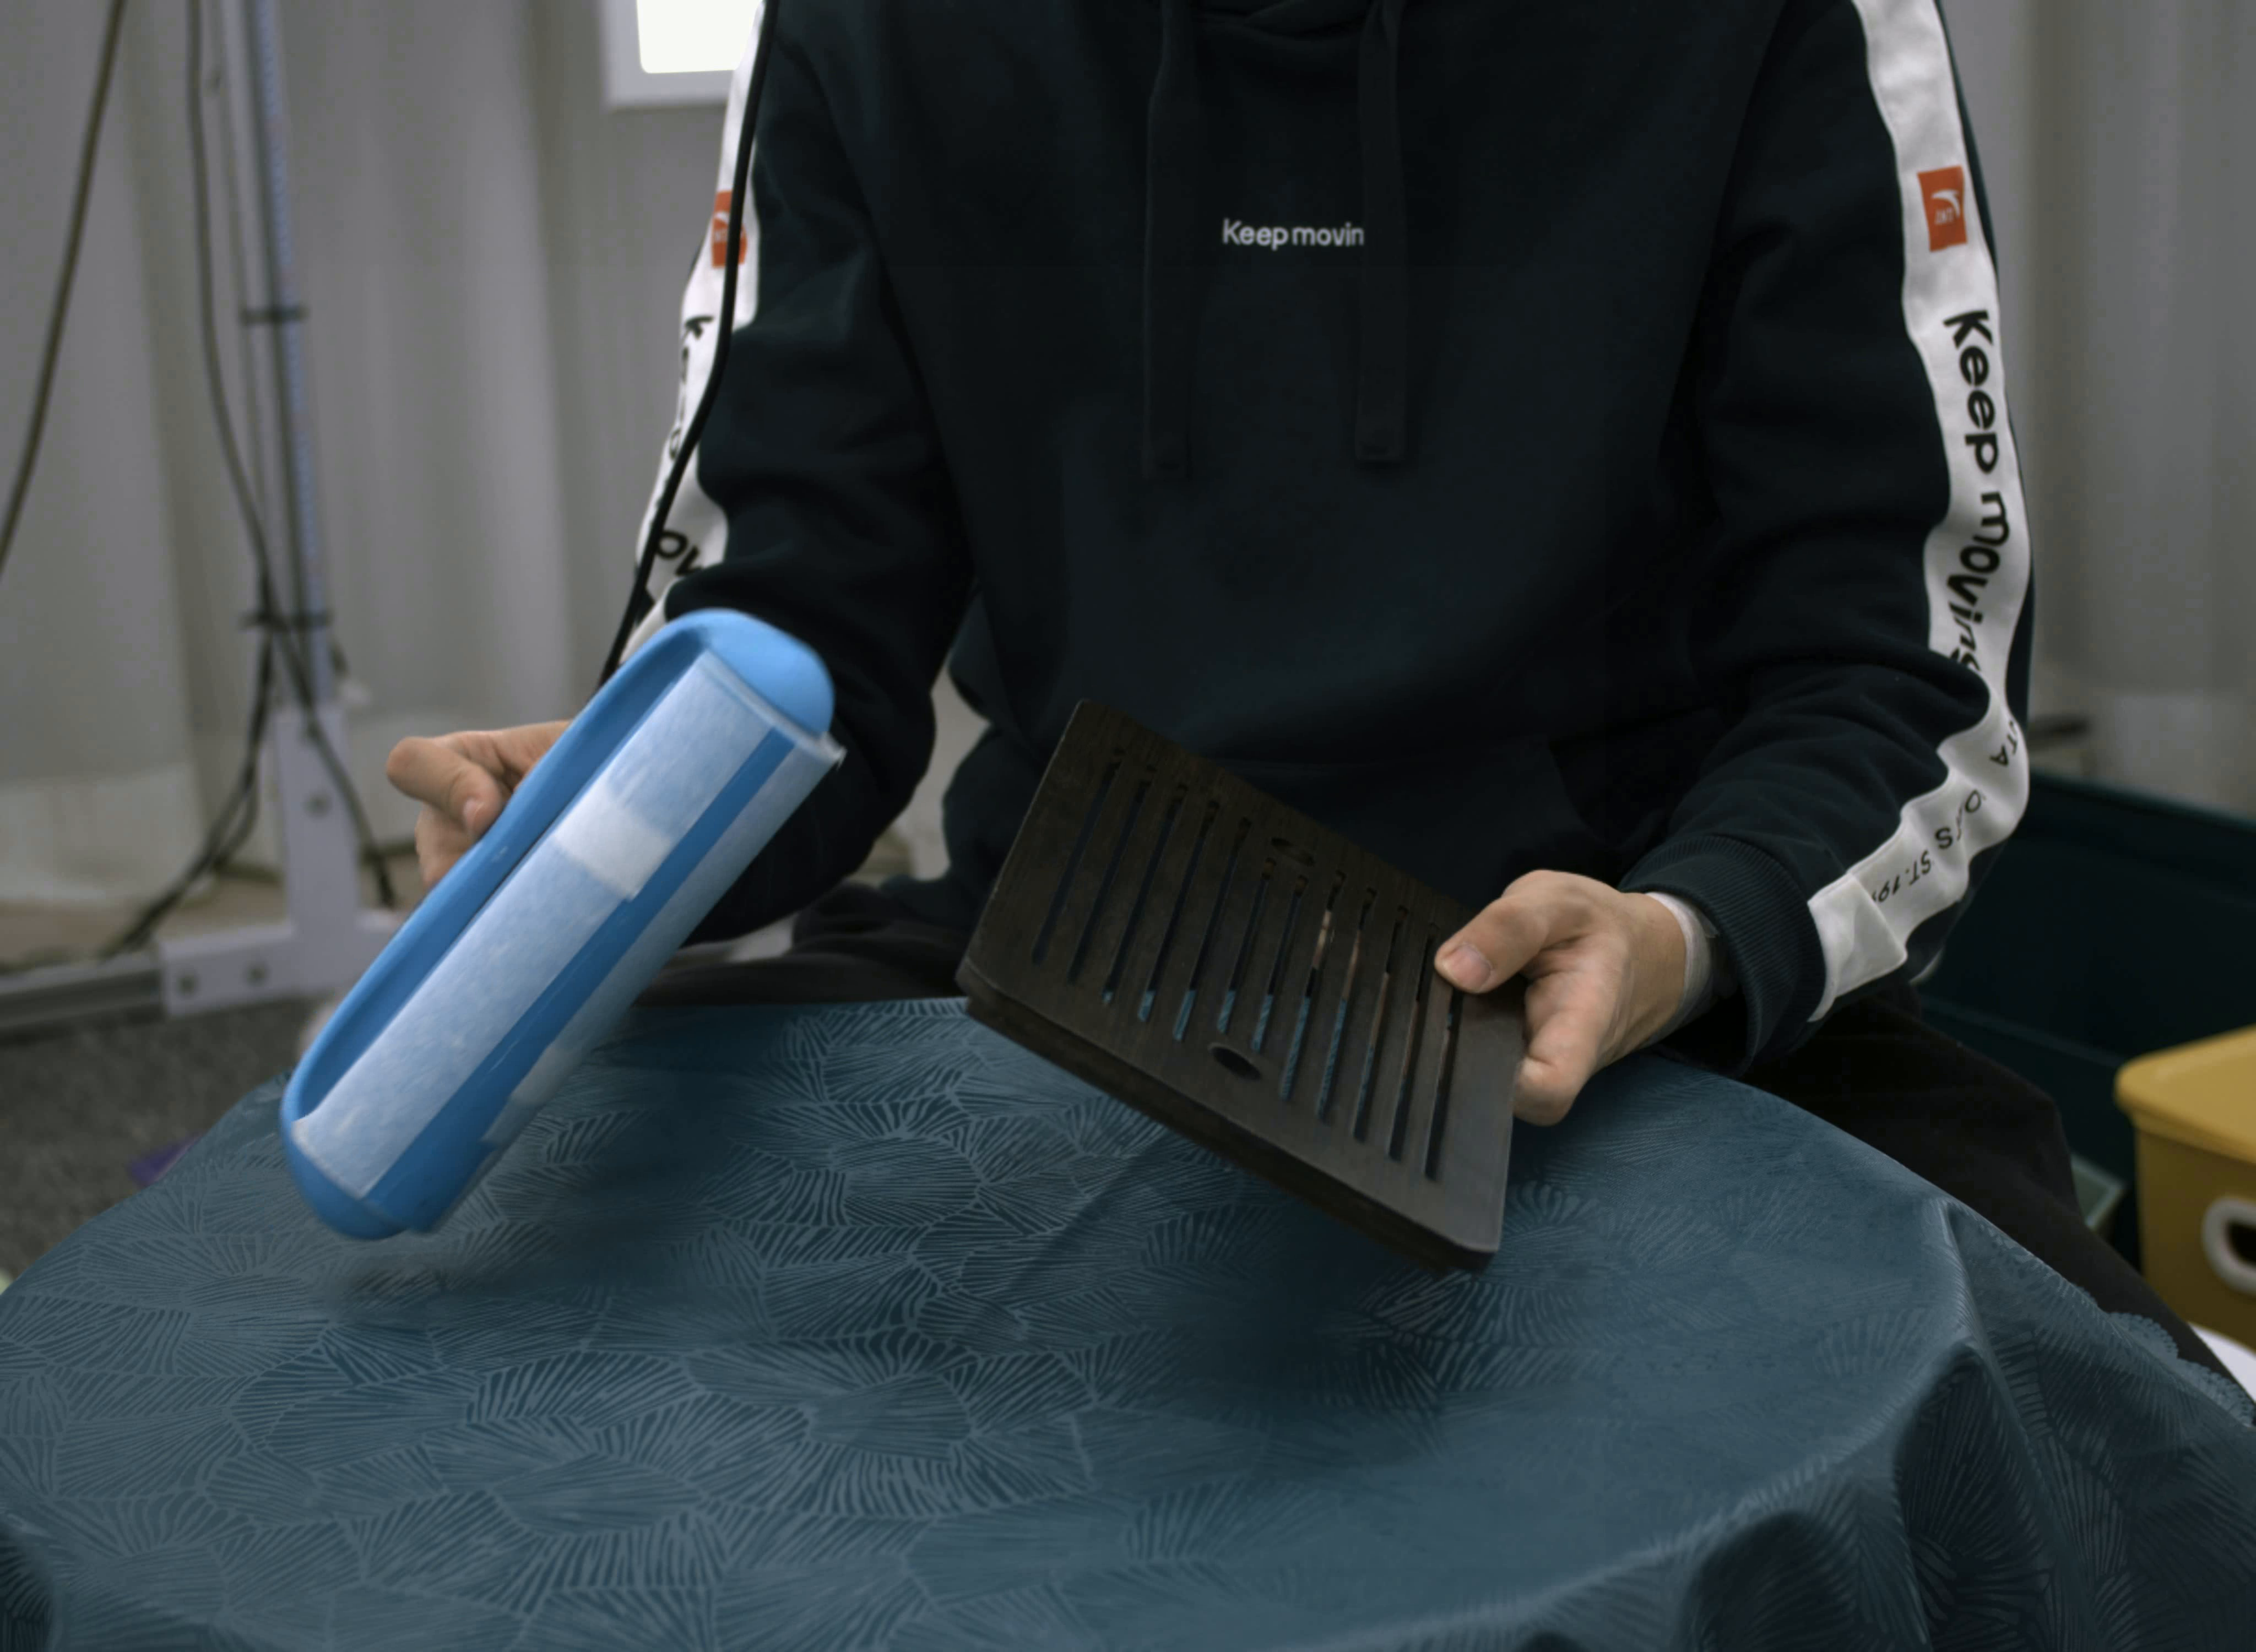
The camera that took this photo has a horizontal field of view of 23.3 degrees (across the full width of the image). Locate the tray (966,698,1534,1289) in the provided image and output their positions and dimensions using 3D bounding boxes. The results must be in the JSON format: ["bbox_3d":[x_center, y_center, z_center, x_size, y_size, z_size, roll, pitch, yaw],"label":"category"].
[{"bbox_3d":[0.042,0.046,1.642,0.169,0.018,0.308,30,17,-3],"label":"tray"}]

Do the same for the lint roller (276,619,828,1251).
[{"bbox_3d":[-0.179,0.025,1.708,0.067,0.229,0.181,38,3,-12],"label":"lint roller"}]
